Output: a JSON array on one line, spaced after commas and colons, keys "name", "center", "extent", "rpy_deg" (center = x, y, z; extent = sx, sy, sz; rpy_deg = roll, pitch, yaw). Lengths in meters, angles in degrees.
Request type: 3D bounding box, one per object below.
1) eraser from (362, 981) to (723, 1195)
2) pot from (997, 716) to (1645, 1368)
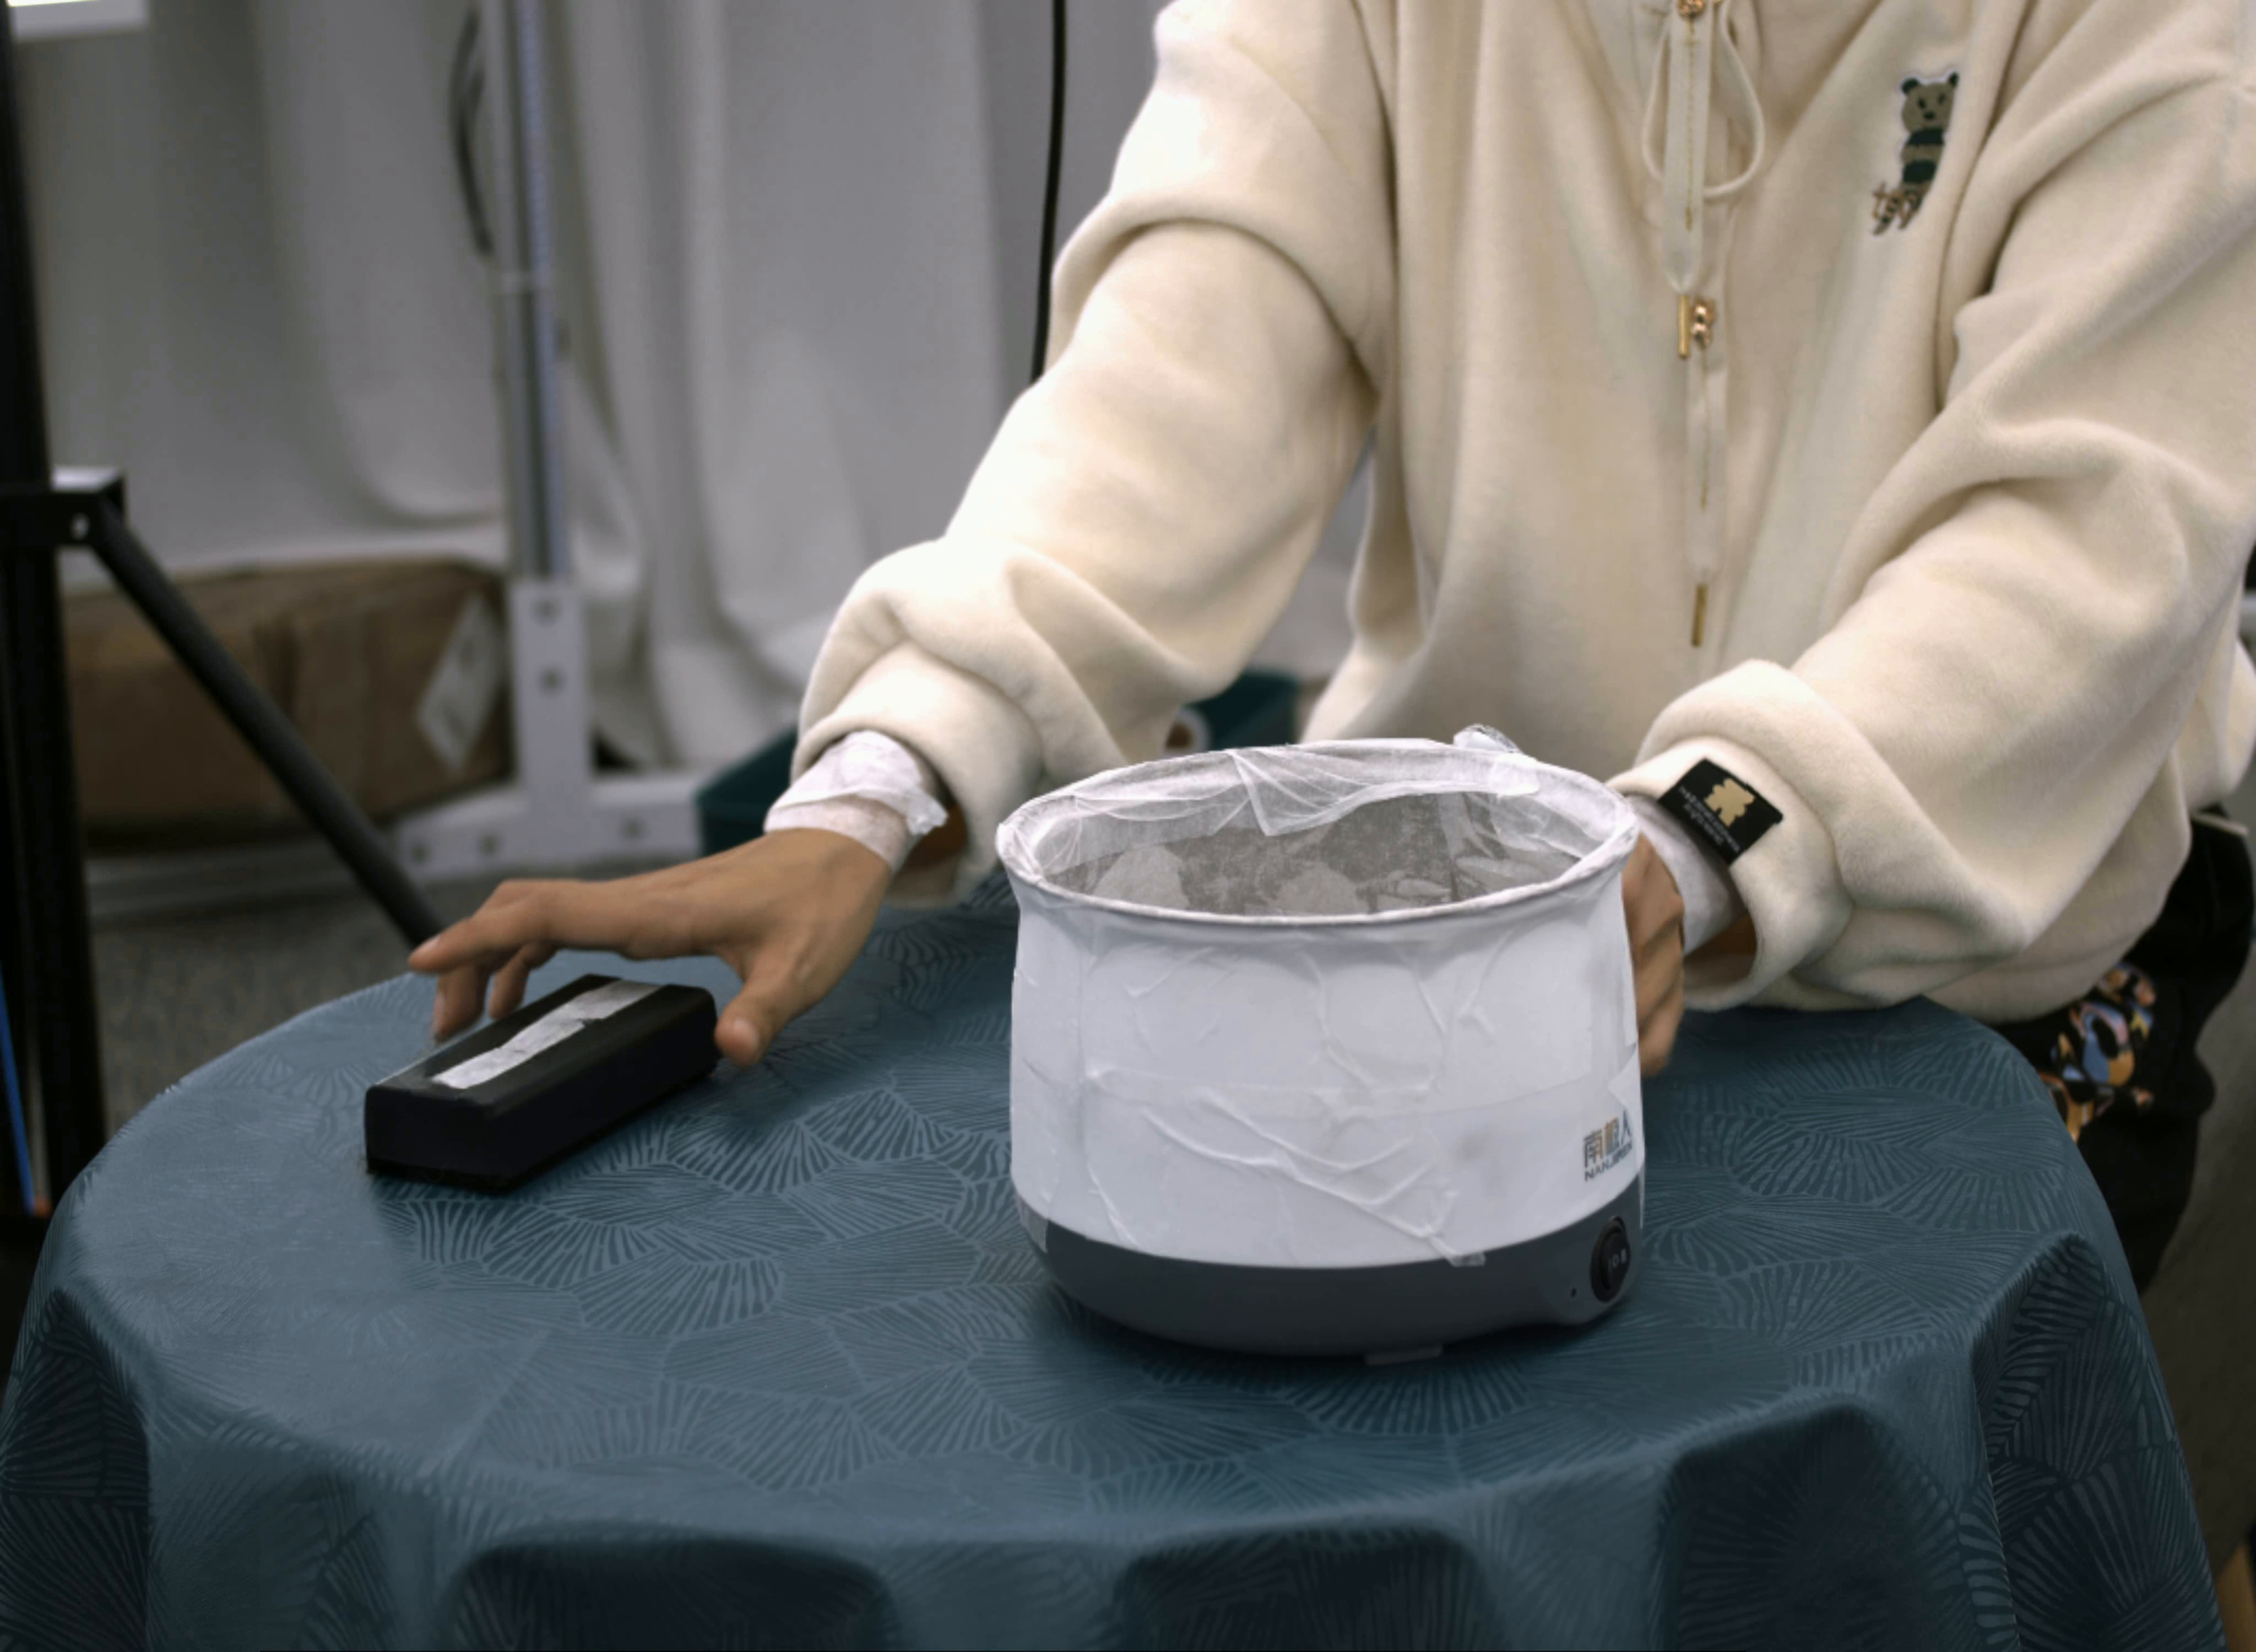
[{"name": "eraser", "center": [-0.178, 0.080, 1.638], "extent": [0.054, 0.030, 0.123], "rpy_deg": [7, 17, 28]}, {"name": "pot", "center": [0.067, 0.053, 1.485], "extent": [0.182, 0.136, 0.229], "rpy_deg": [7, 18, 29]}]
